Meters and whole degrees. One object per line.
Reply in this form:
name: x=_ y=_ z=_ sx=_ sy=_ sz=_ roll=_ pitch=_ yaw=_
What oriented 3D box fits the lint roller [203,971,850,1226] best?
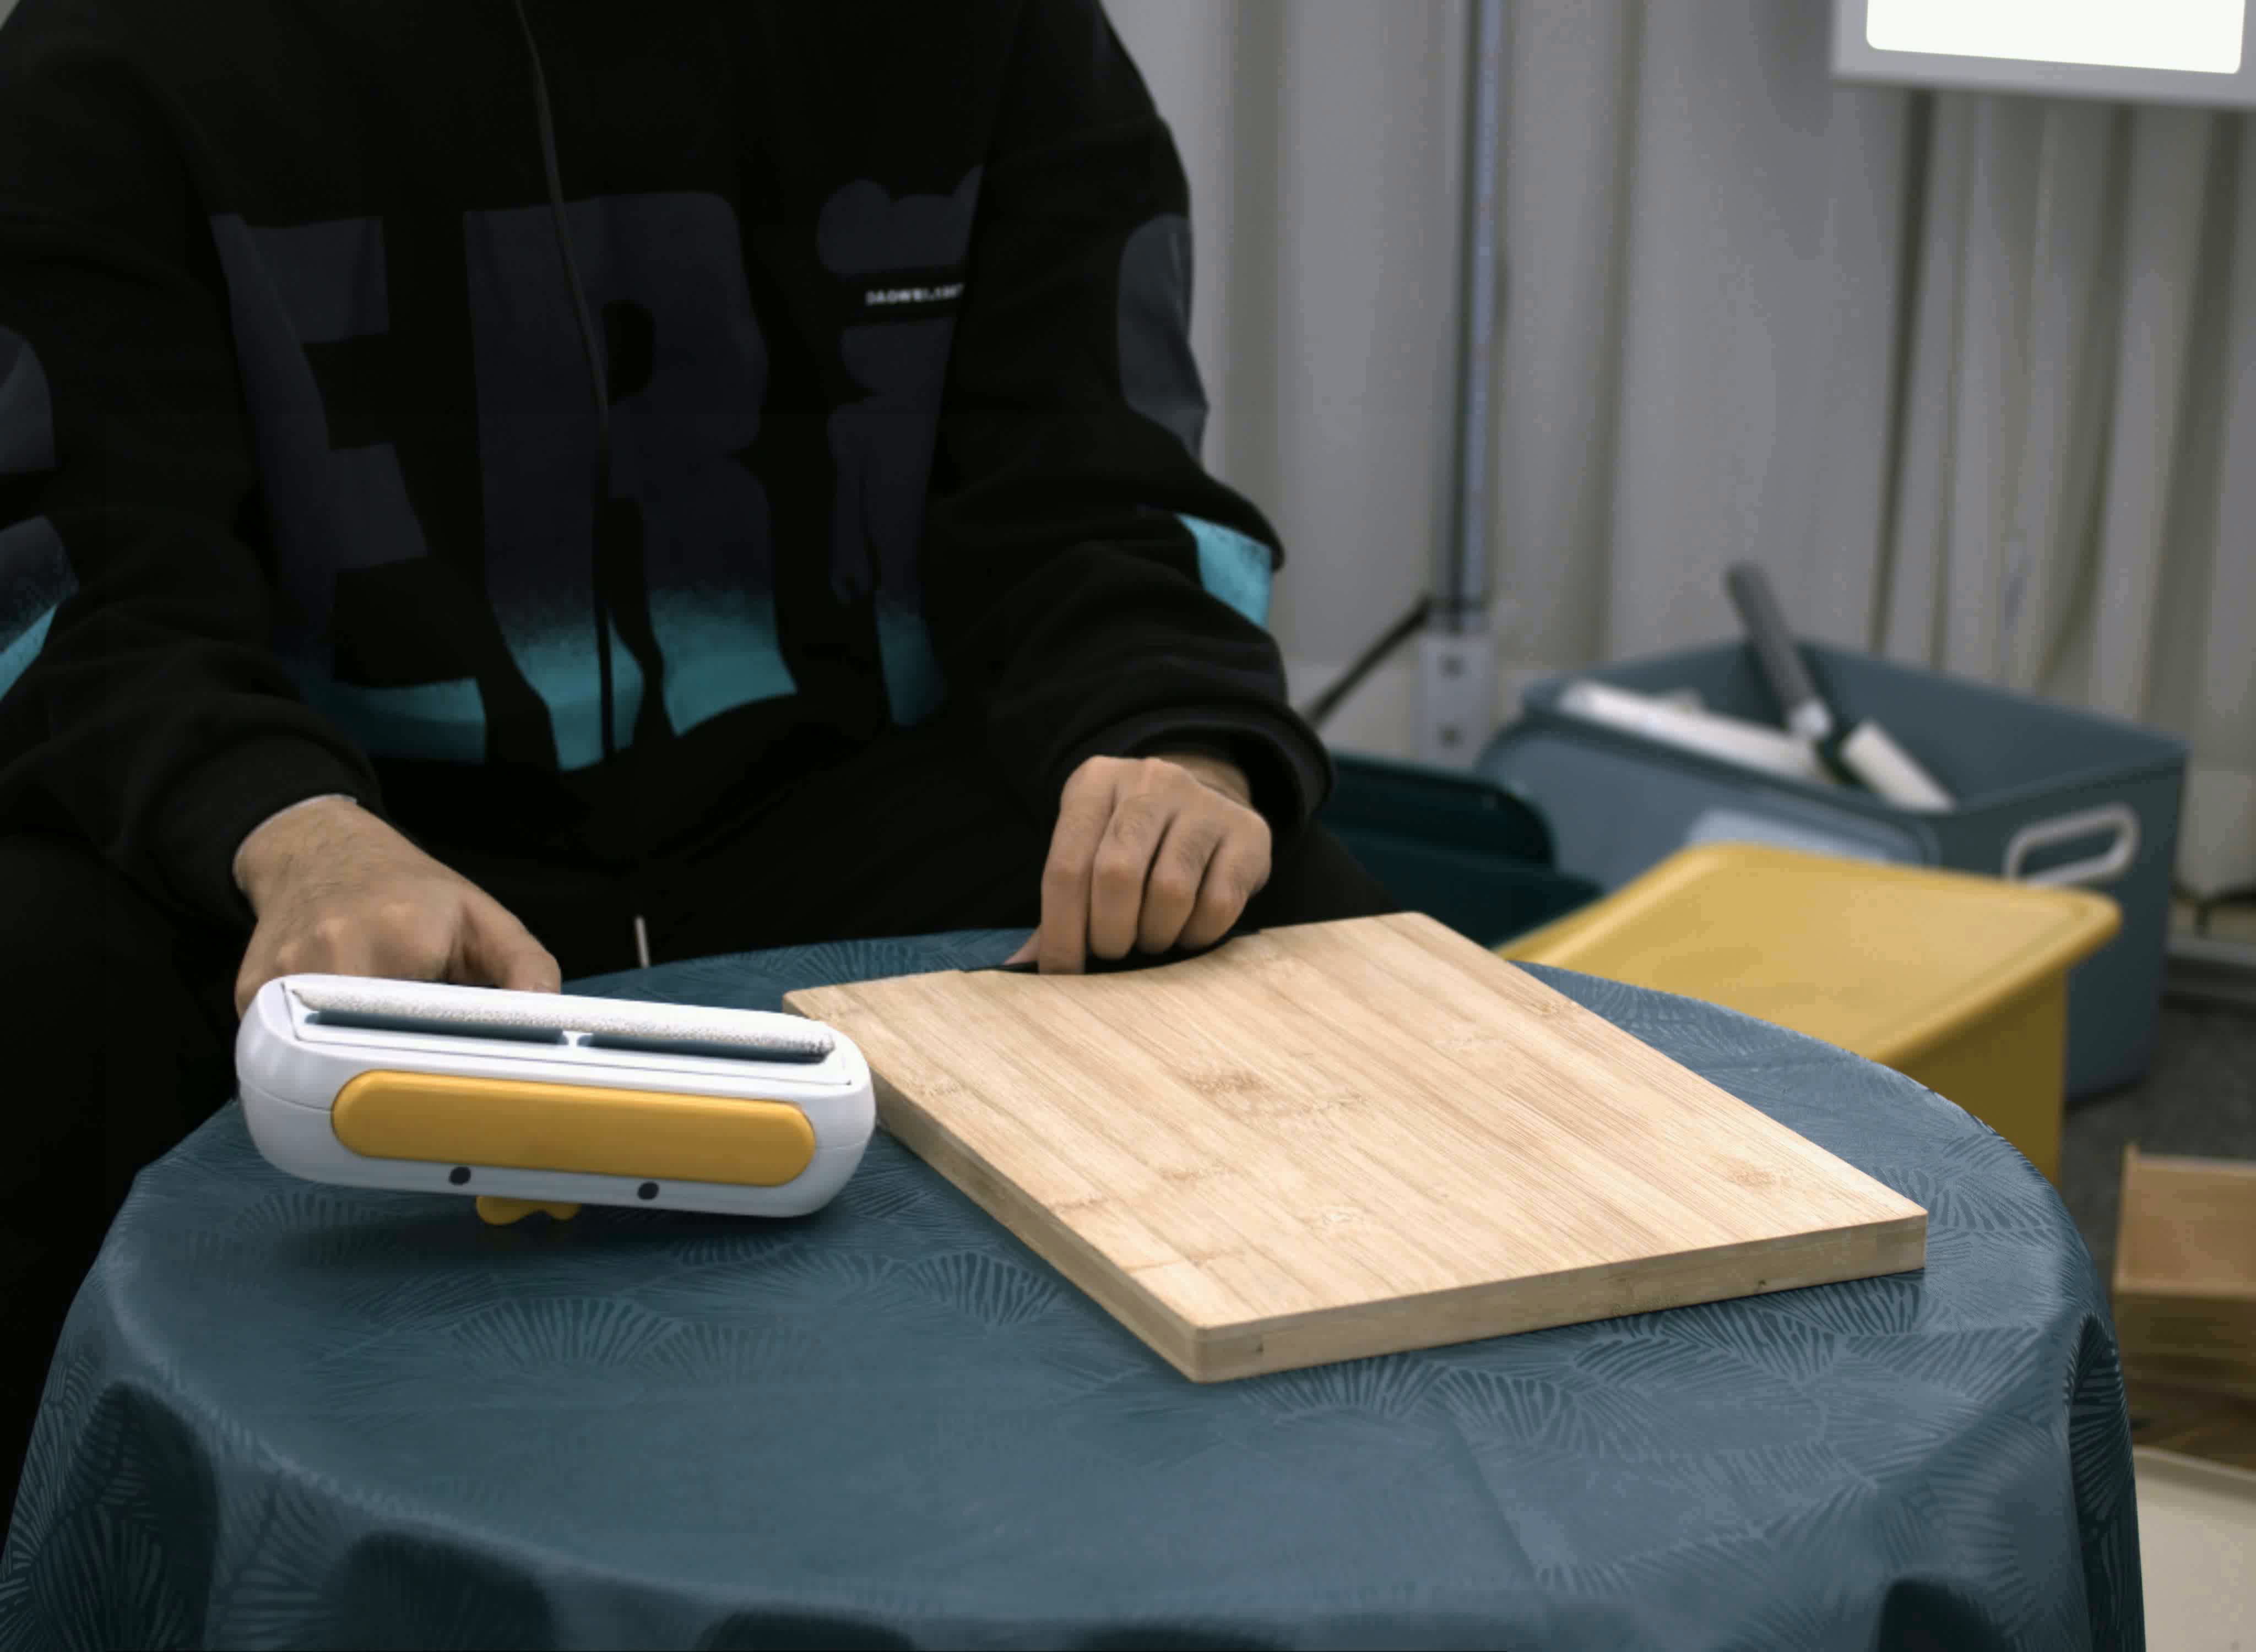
lint roller: x=-0.192 y=0.073 z=1.628 sx=0.193 sy=0.074 sz=0.191 roll=2 pitch=13 yaw=-14

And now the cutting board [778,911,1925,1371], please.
cutting board: x=0.059 y=0.093 z=1.663 sx=0.251 sy=0.024 sz=0.344 roll=-6 pitch=17 yaw=-24
